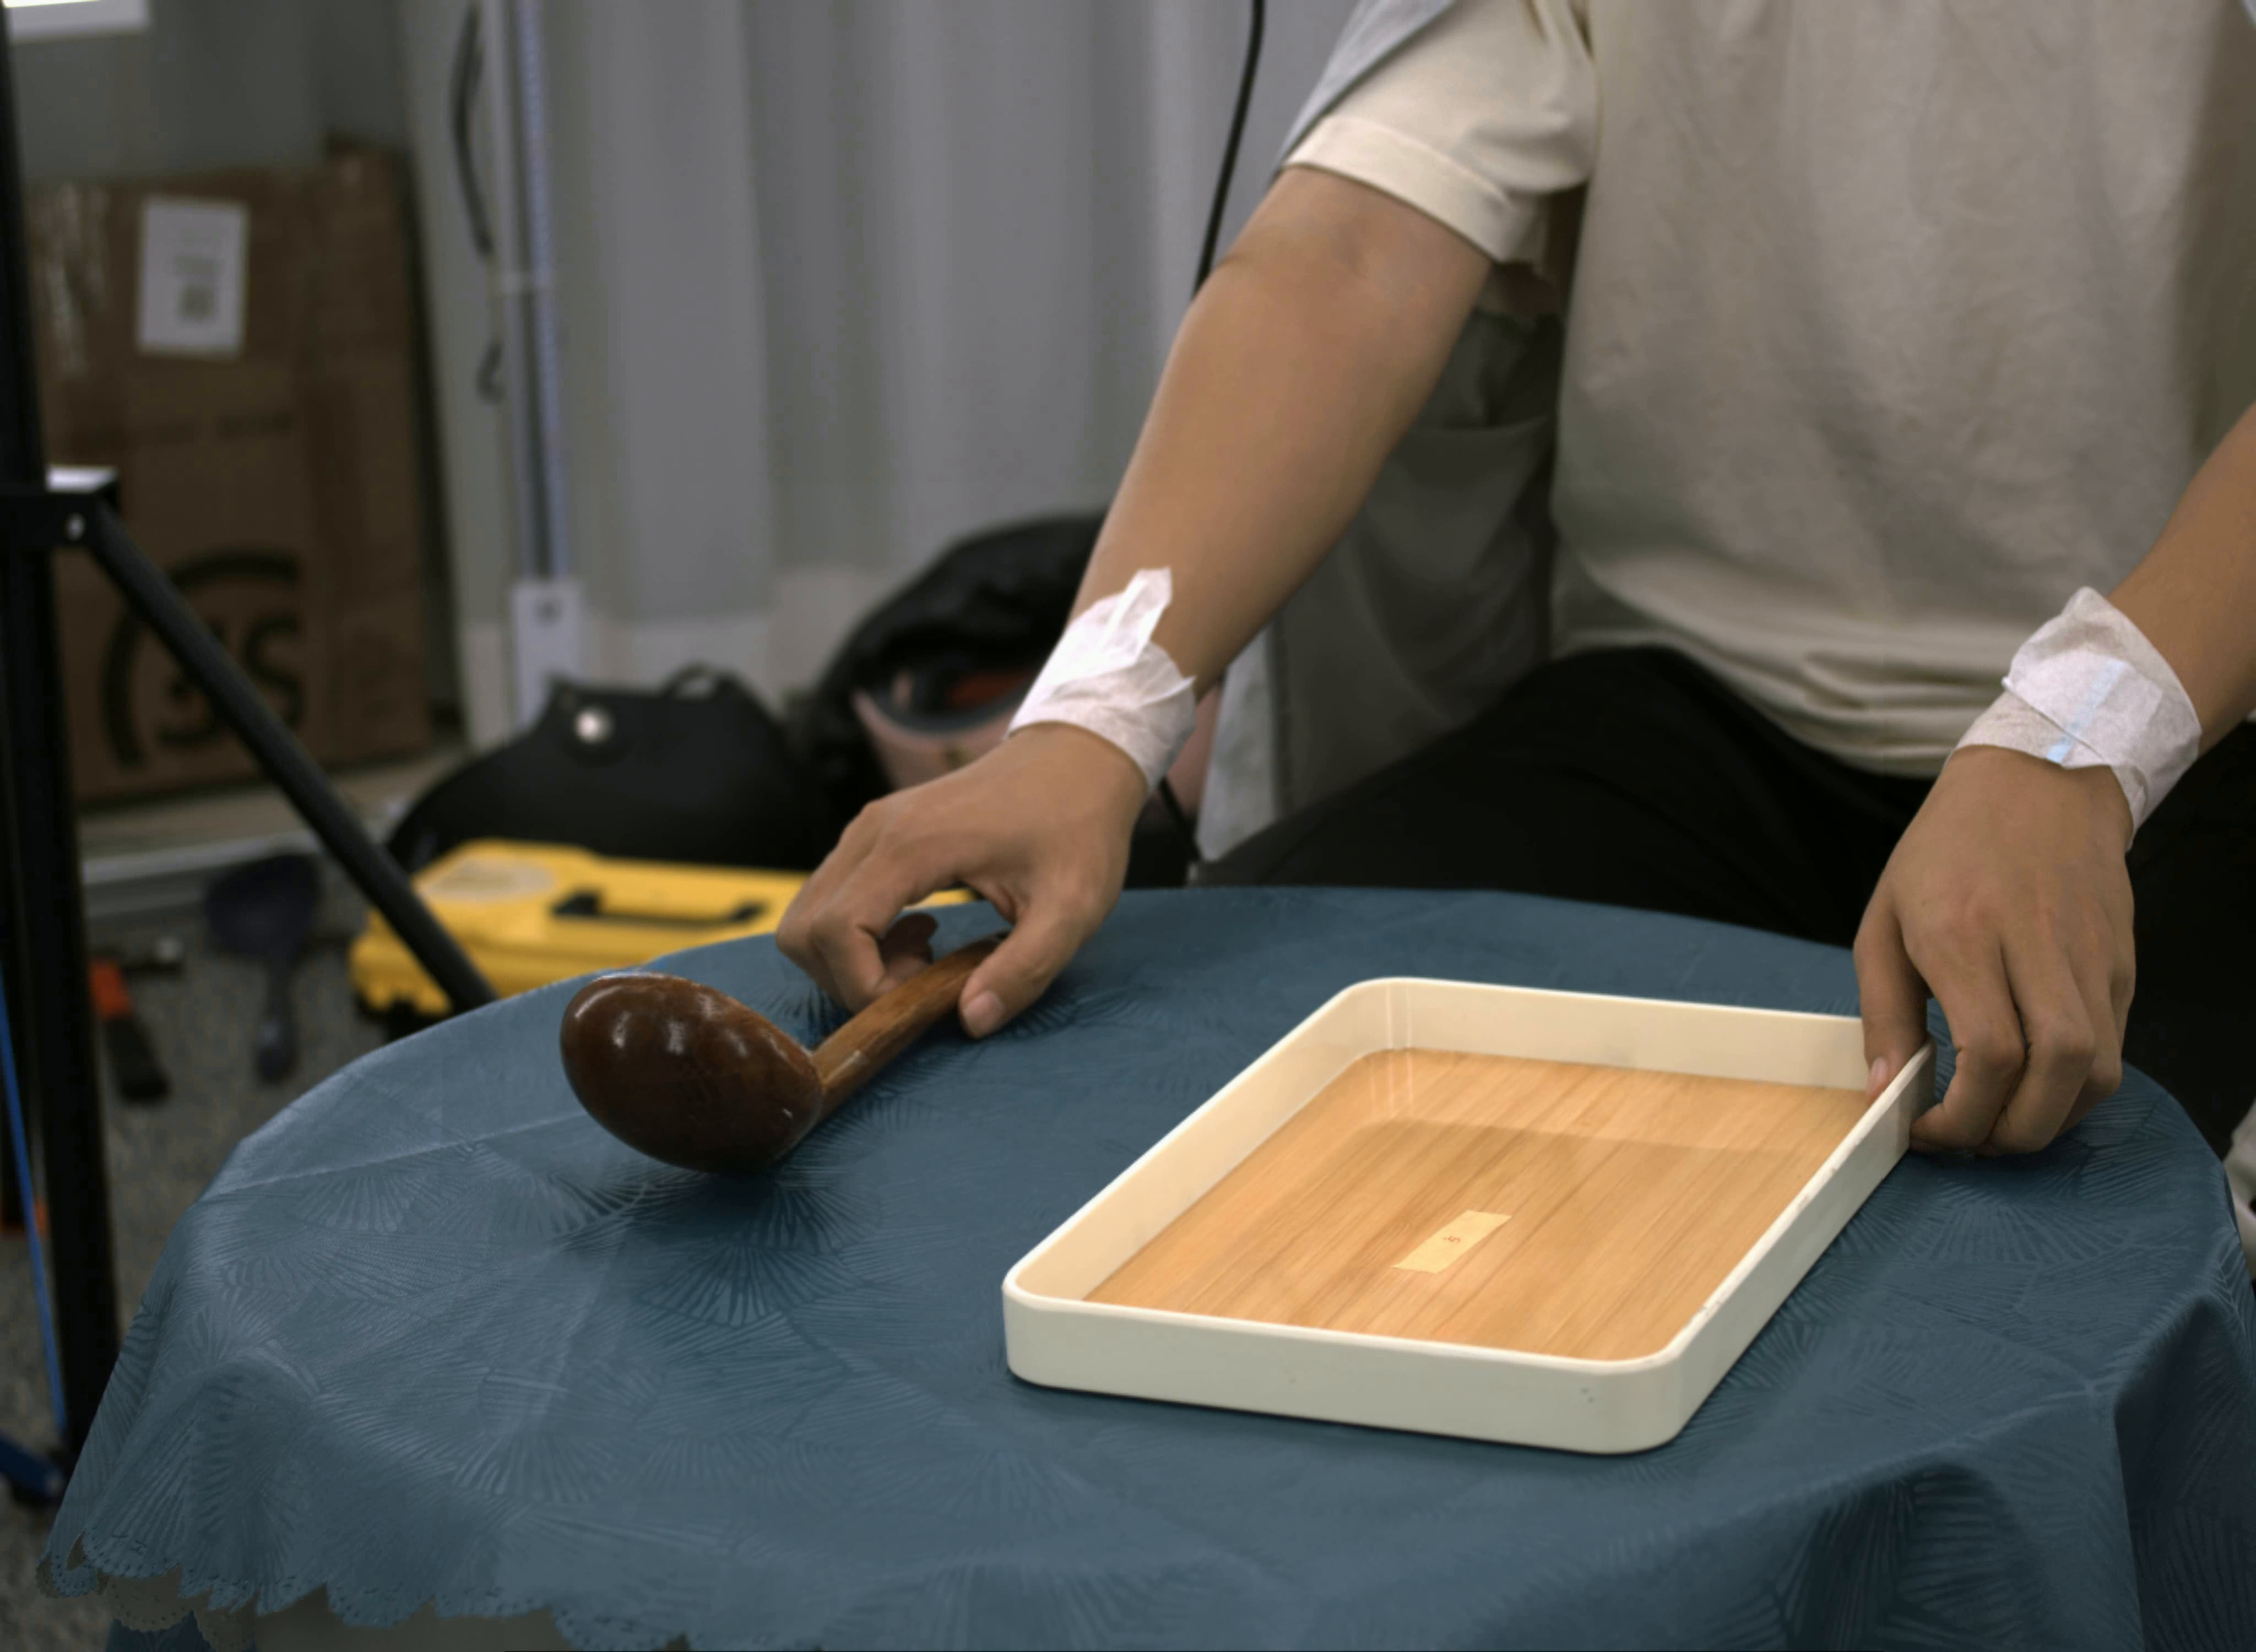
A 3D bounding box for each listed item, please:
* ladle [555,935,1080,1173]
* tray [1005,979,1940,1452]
[{"bbox_3d":[-0.085,0.045,1.651,0.083,0.076,0.270,12,20,24],"label":"ladle"},{"bbox_3d":[0.106,0.104,1.500,0.194,0.027,0.296,4,17,23],"label":"tray"}]
